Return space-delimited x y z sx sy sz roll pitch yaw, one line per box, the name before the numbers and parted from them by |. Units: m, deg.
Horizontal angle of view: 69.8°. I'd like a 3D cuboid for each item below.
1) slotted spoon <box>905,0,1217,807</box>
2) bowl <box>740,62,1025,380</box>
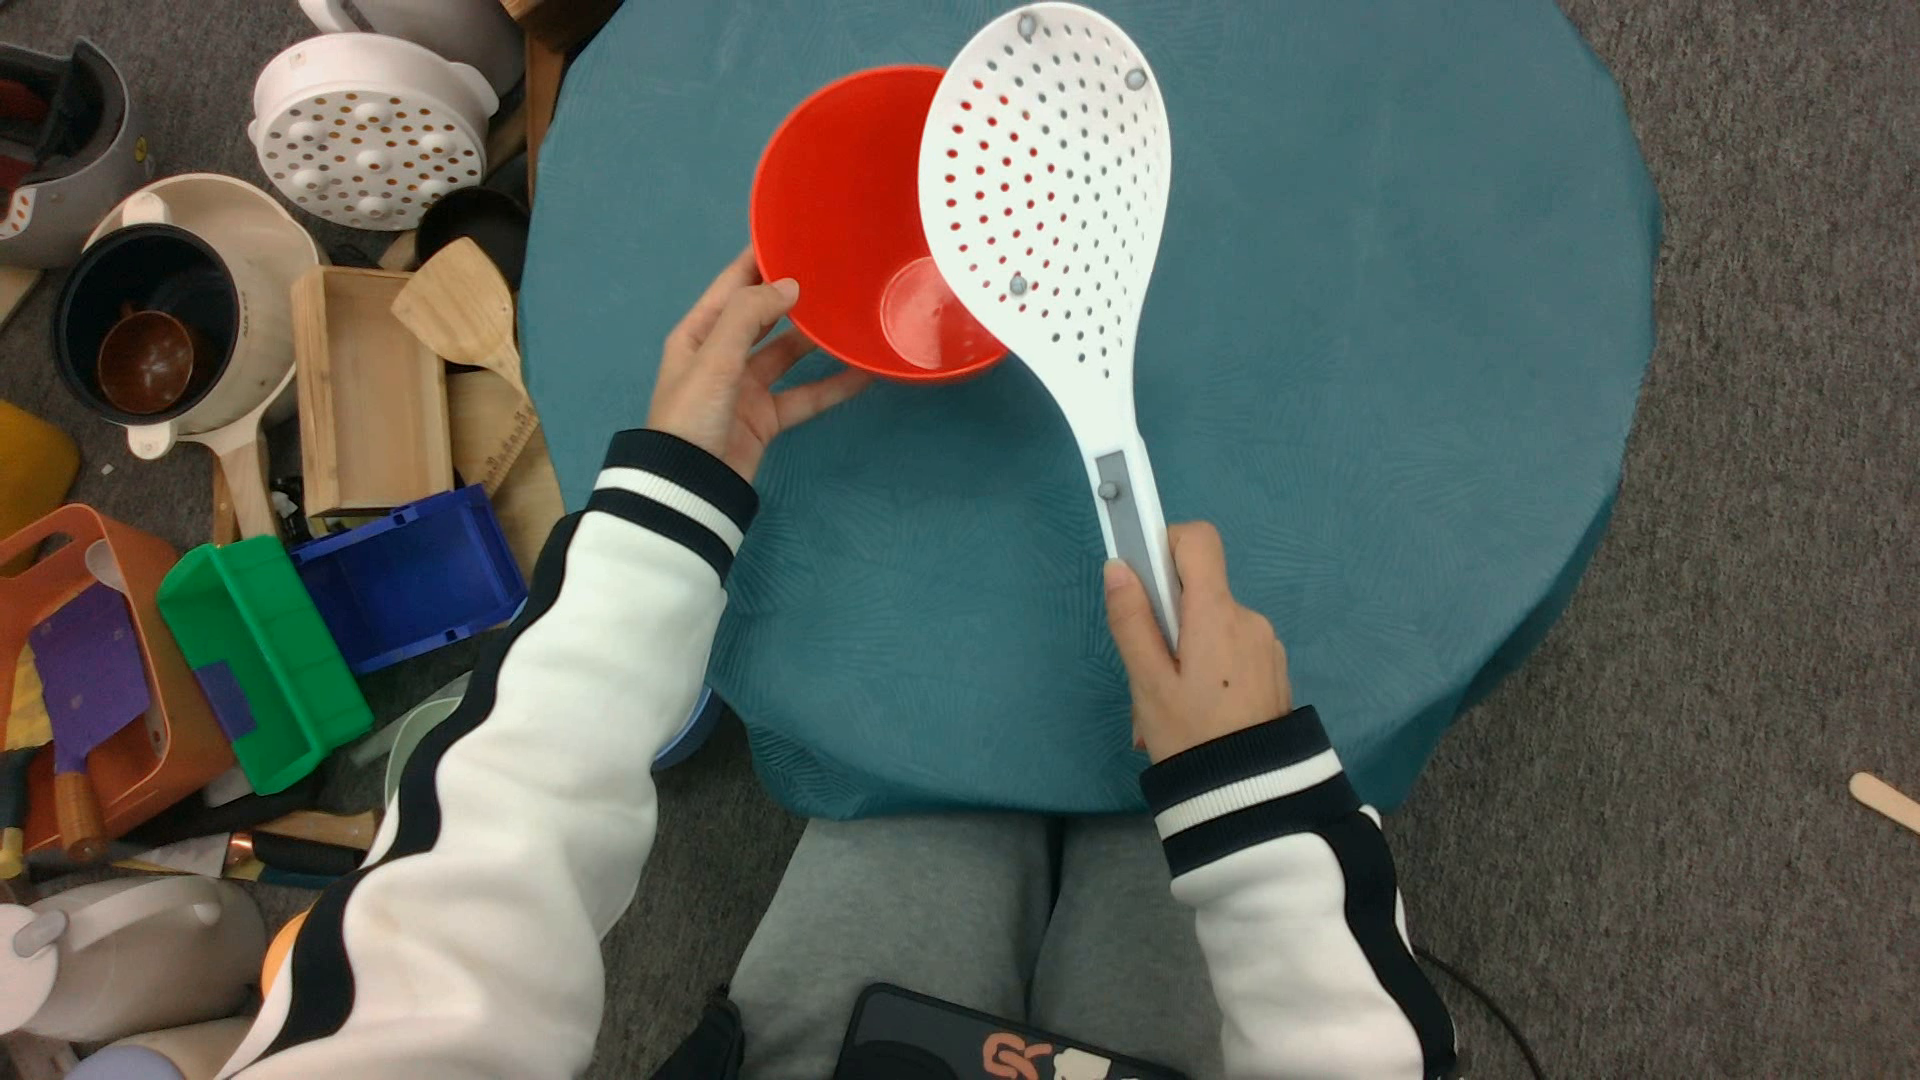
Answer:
slotted spoon | 0.057 -0.057 0.593 0.135 0.046 0.350 -16 83 41
bowl | -0.026 -0.141 0.671 0.148 0.104 0.148 0 75 -1
